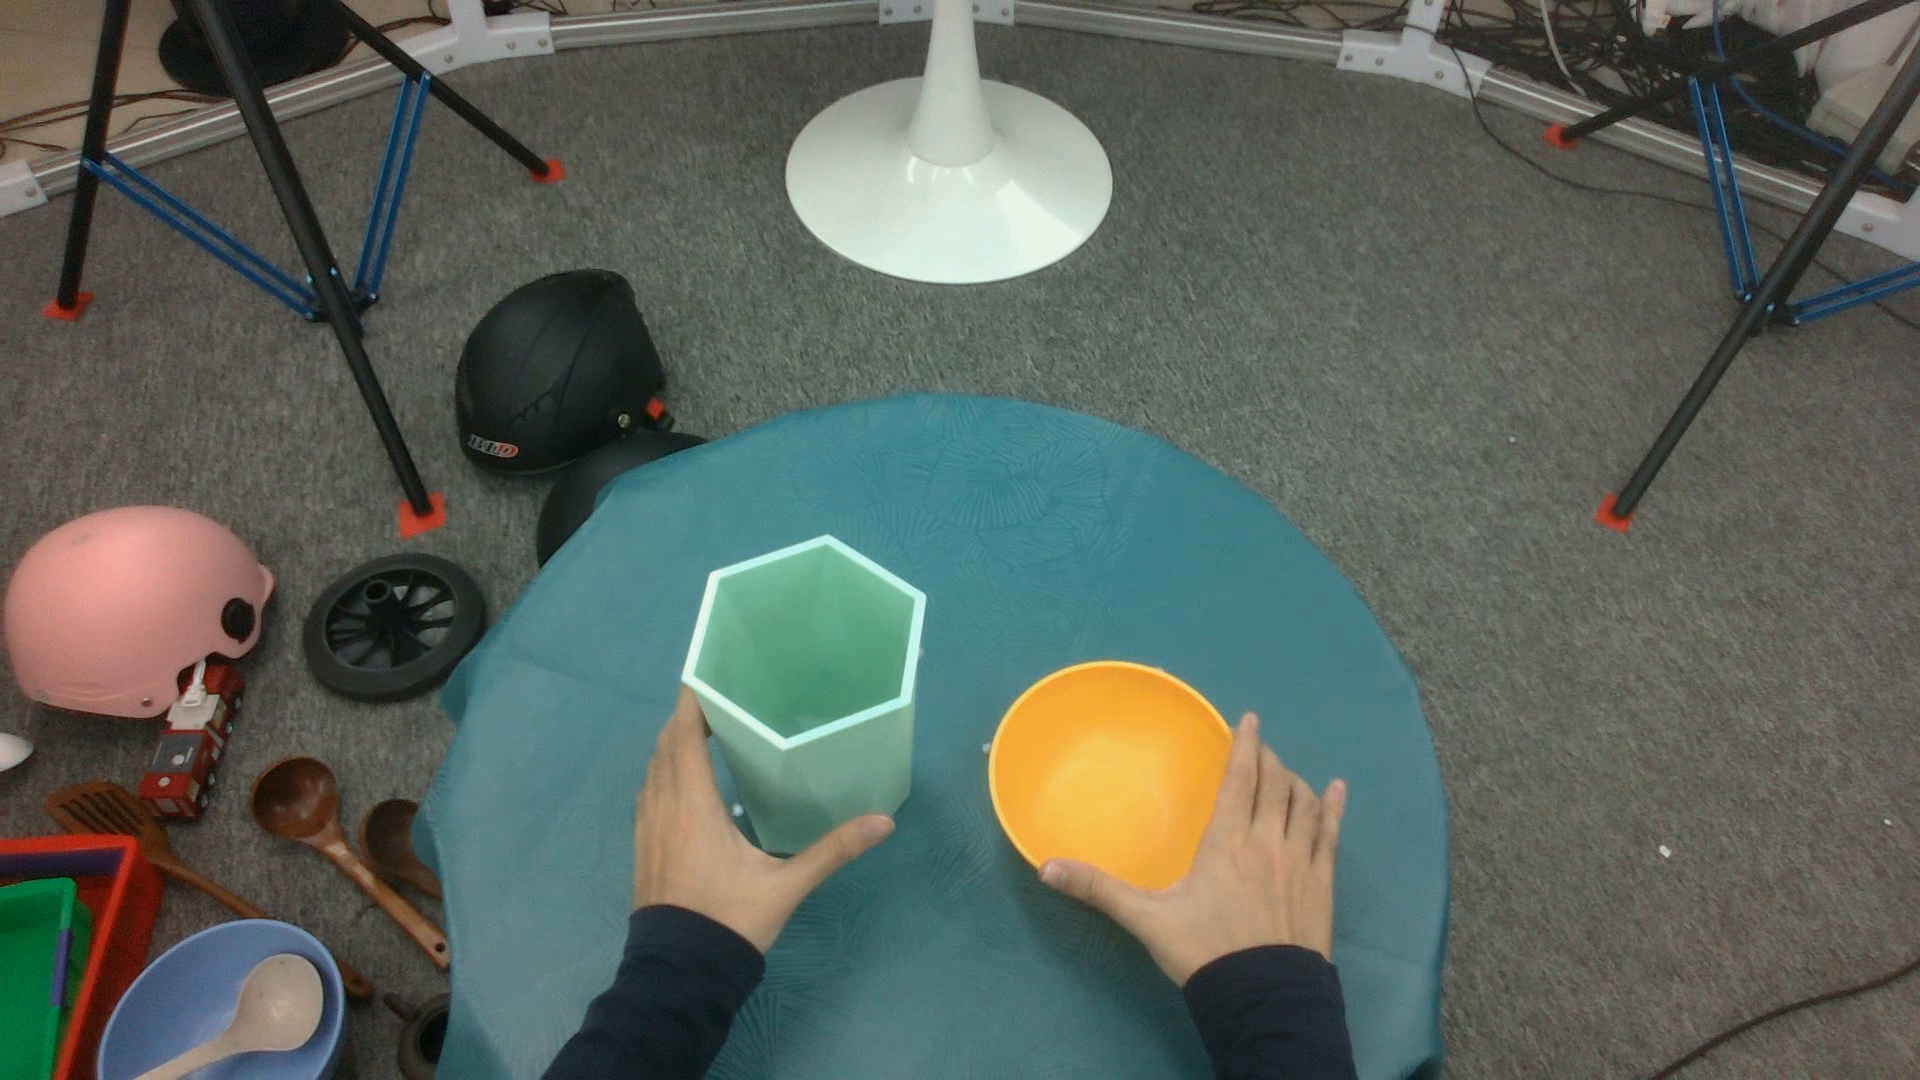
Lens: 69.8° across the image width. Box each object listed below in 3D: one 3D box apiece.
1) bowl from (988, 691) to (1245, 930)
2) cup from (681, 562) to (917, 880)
[{"bbox_3d":[0.089,0.164,0.803,0.145,0.060,0.146,-1,56,1],"label":"bowl"},{"bbox_3d":[-0.080,0.111,0.770,0.131,0.162,0.116,26,56,20],"label":"cup"}]
